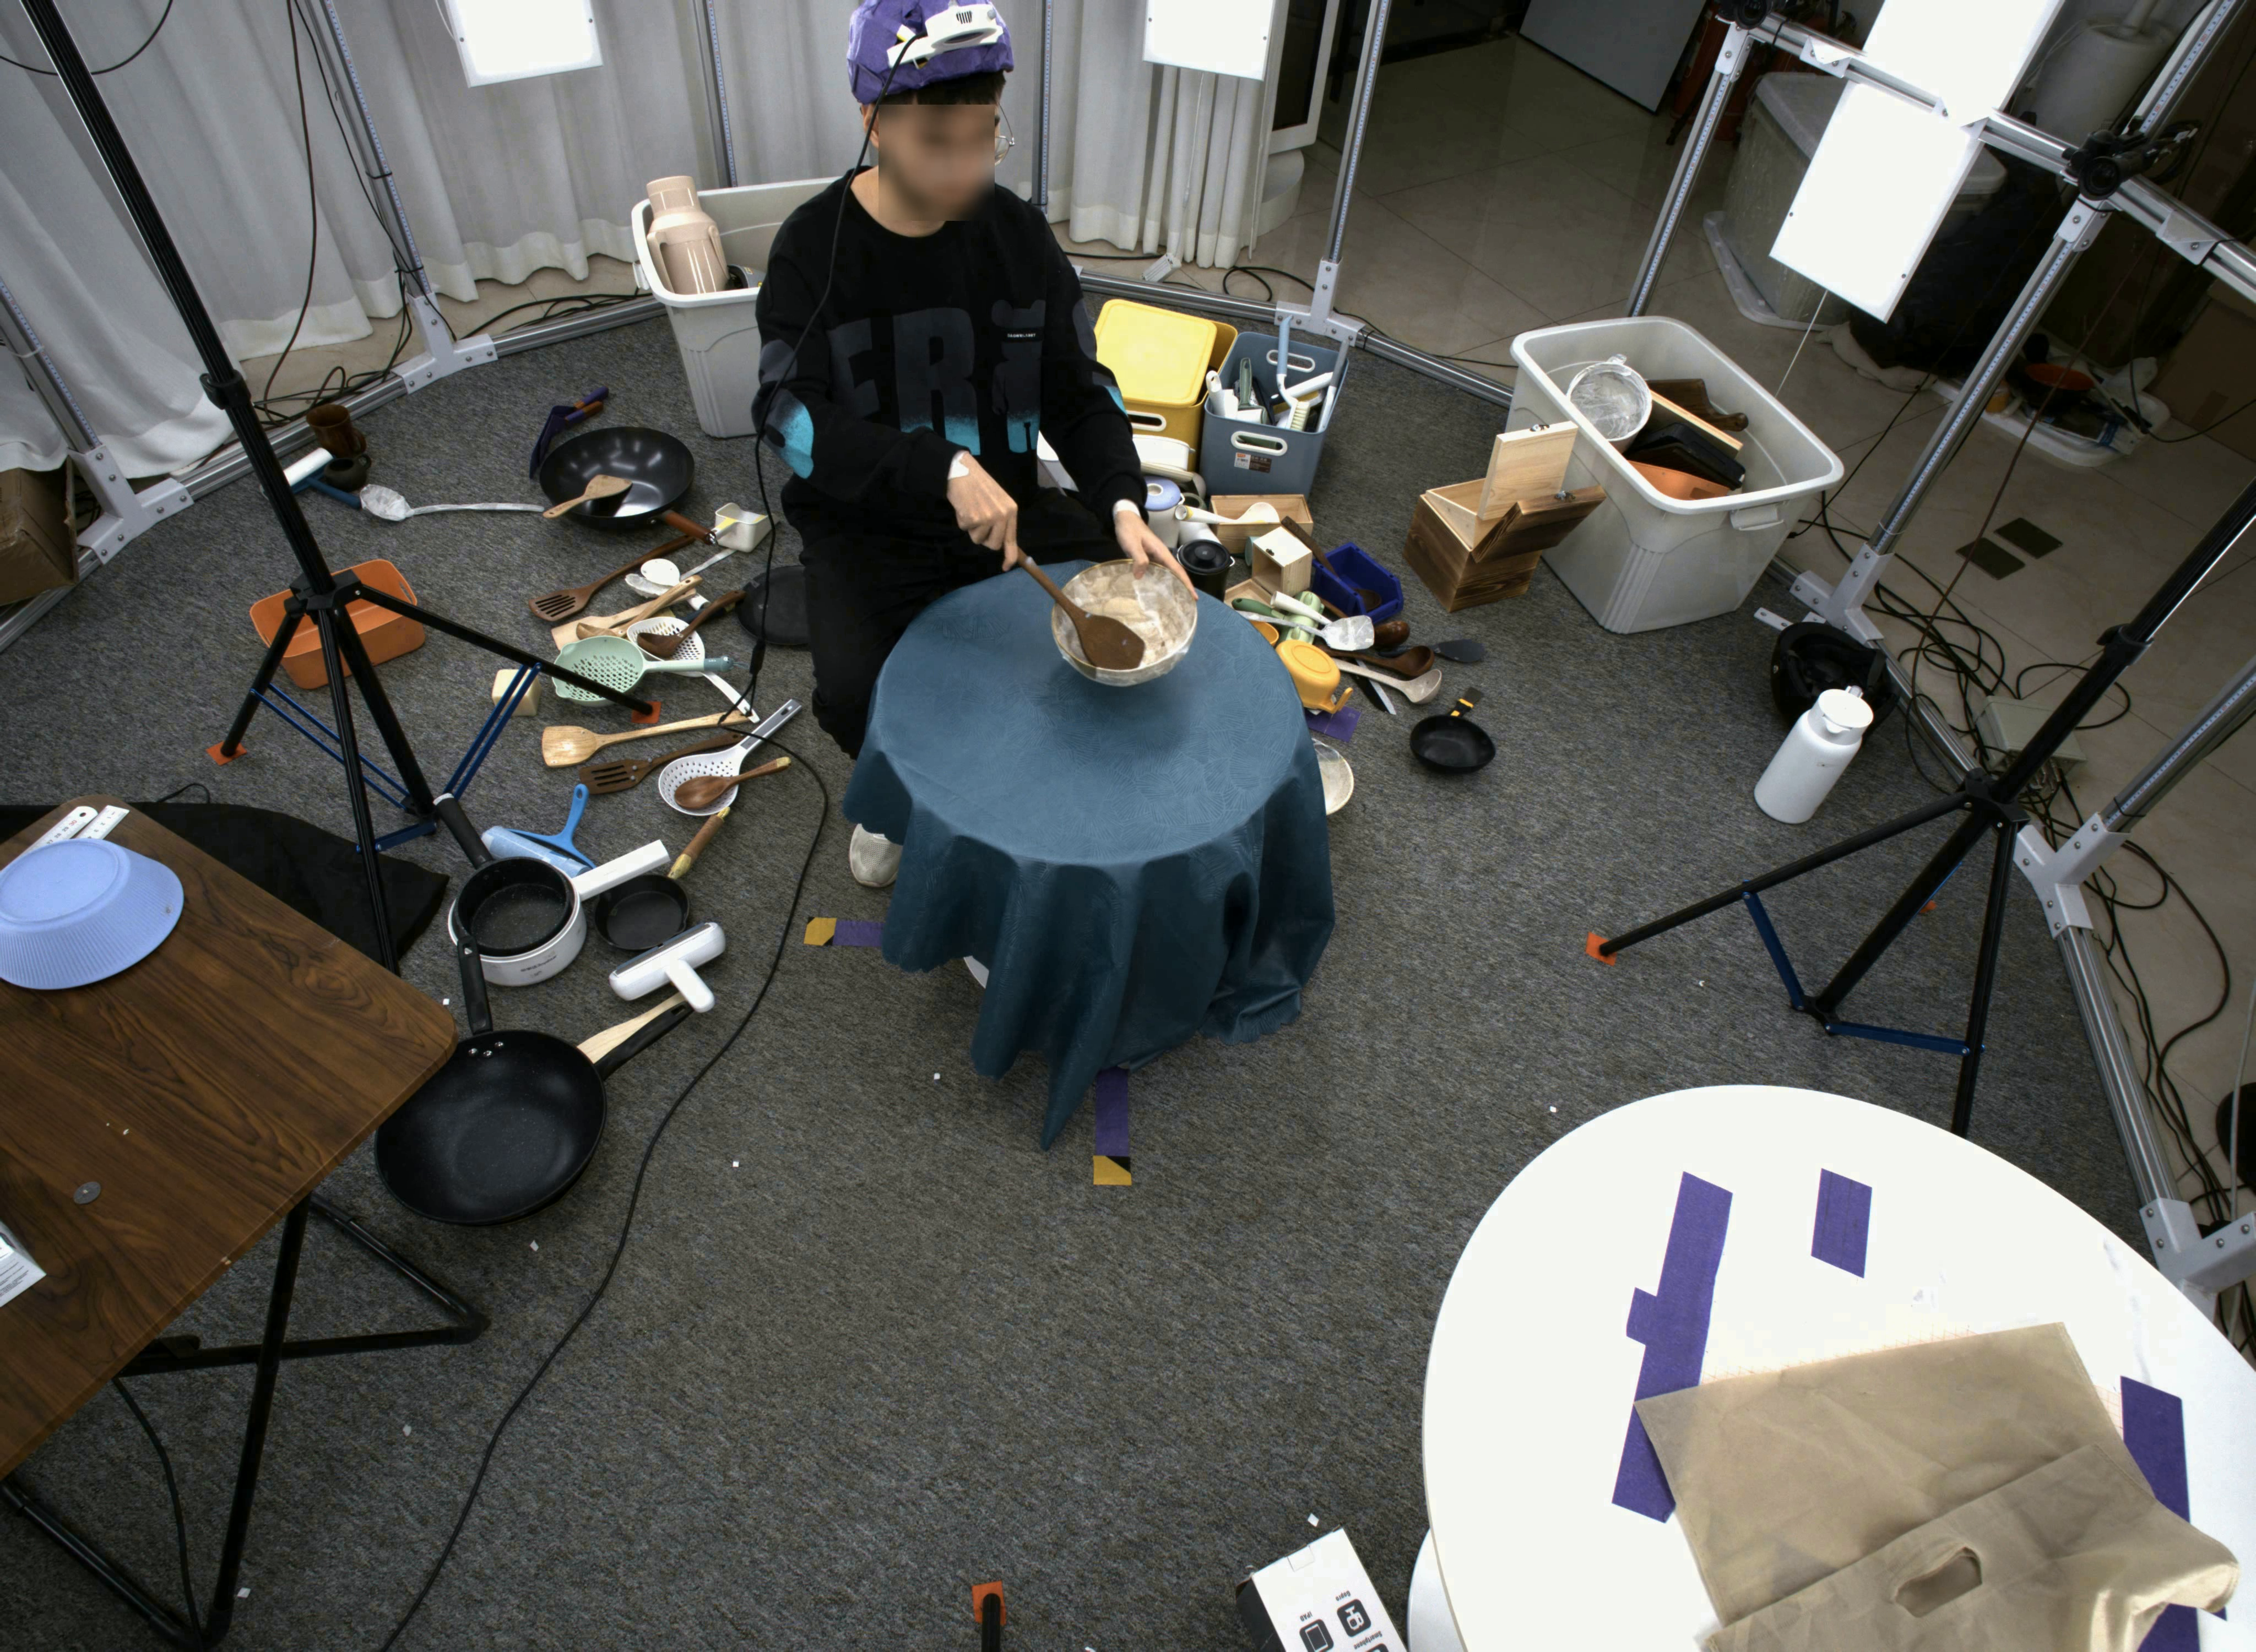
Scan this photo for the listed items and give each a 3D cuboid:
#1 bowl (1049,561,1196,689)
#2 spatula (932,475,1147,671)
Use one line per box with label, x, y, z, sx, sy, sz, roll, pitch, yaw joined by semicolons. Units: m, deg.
bowl;-0.001;-0.270;1.811;0.215;0.092;0.220;-4;55;6
spatula;-0.123;-0.345;1.786;0.382;0.015;0.098;43;52;-13
